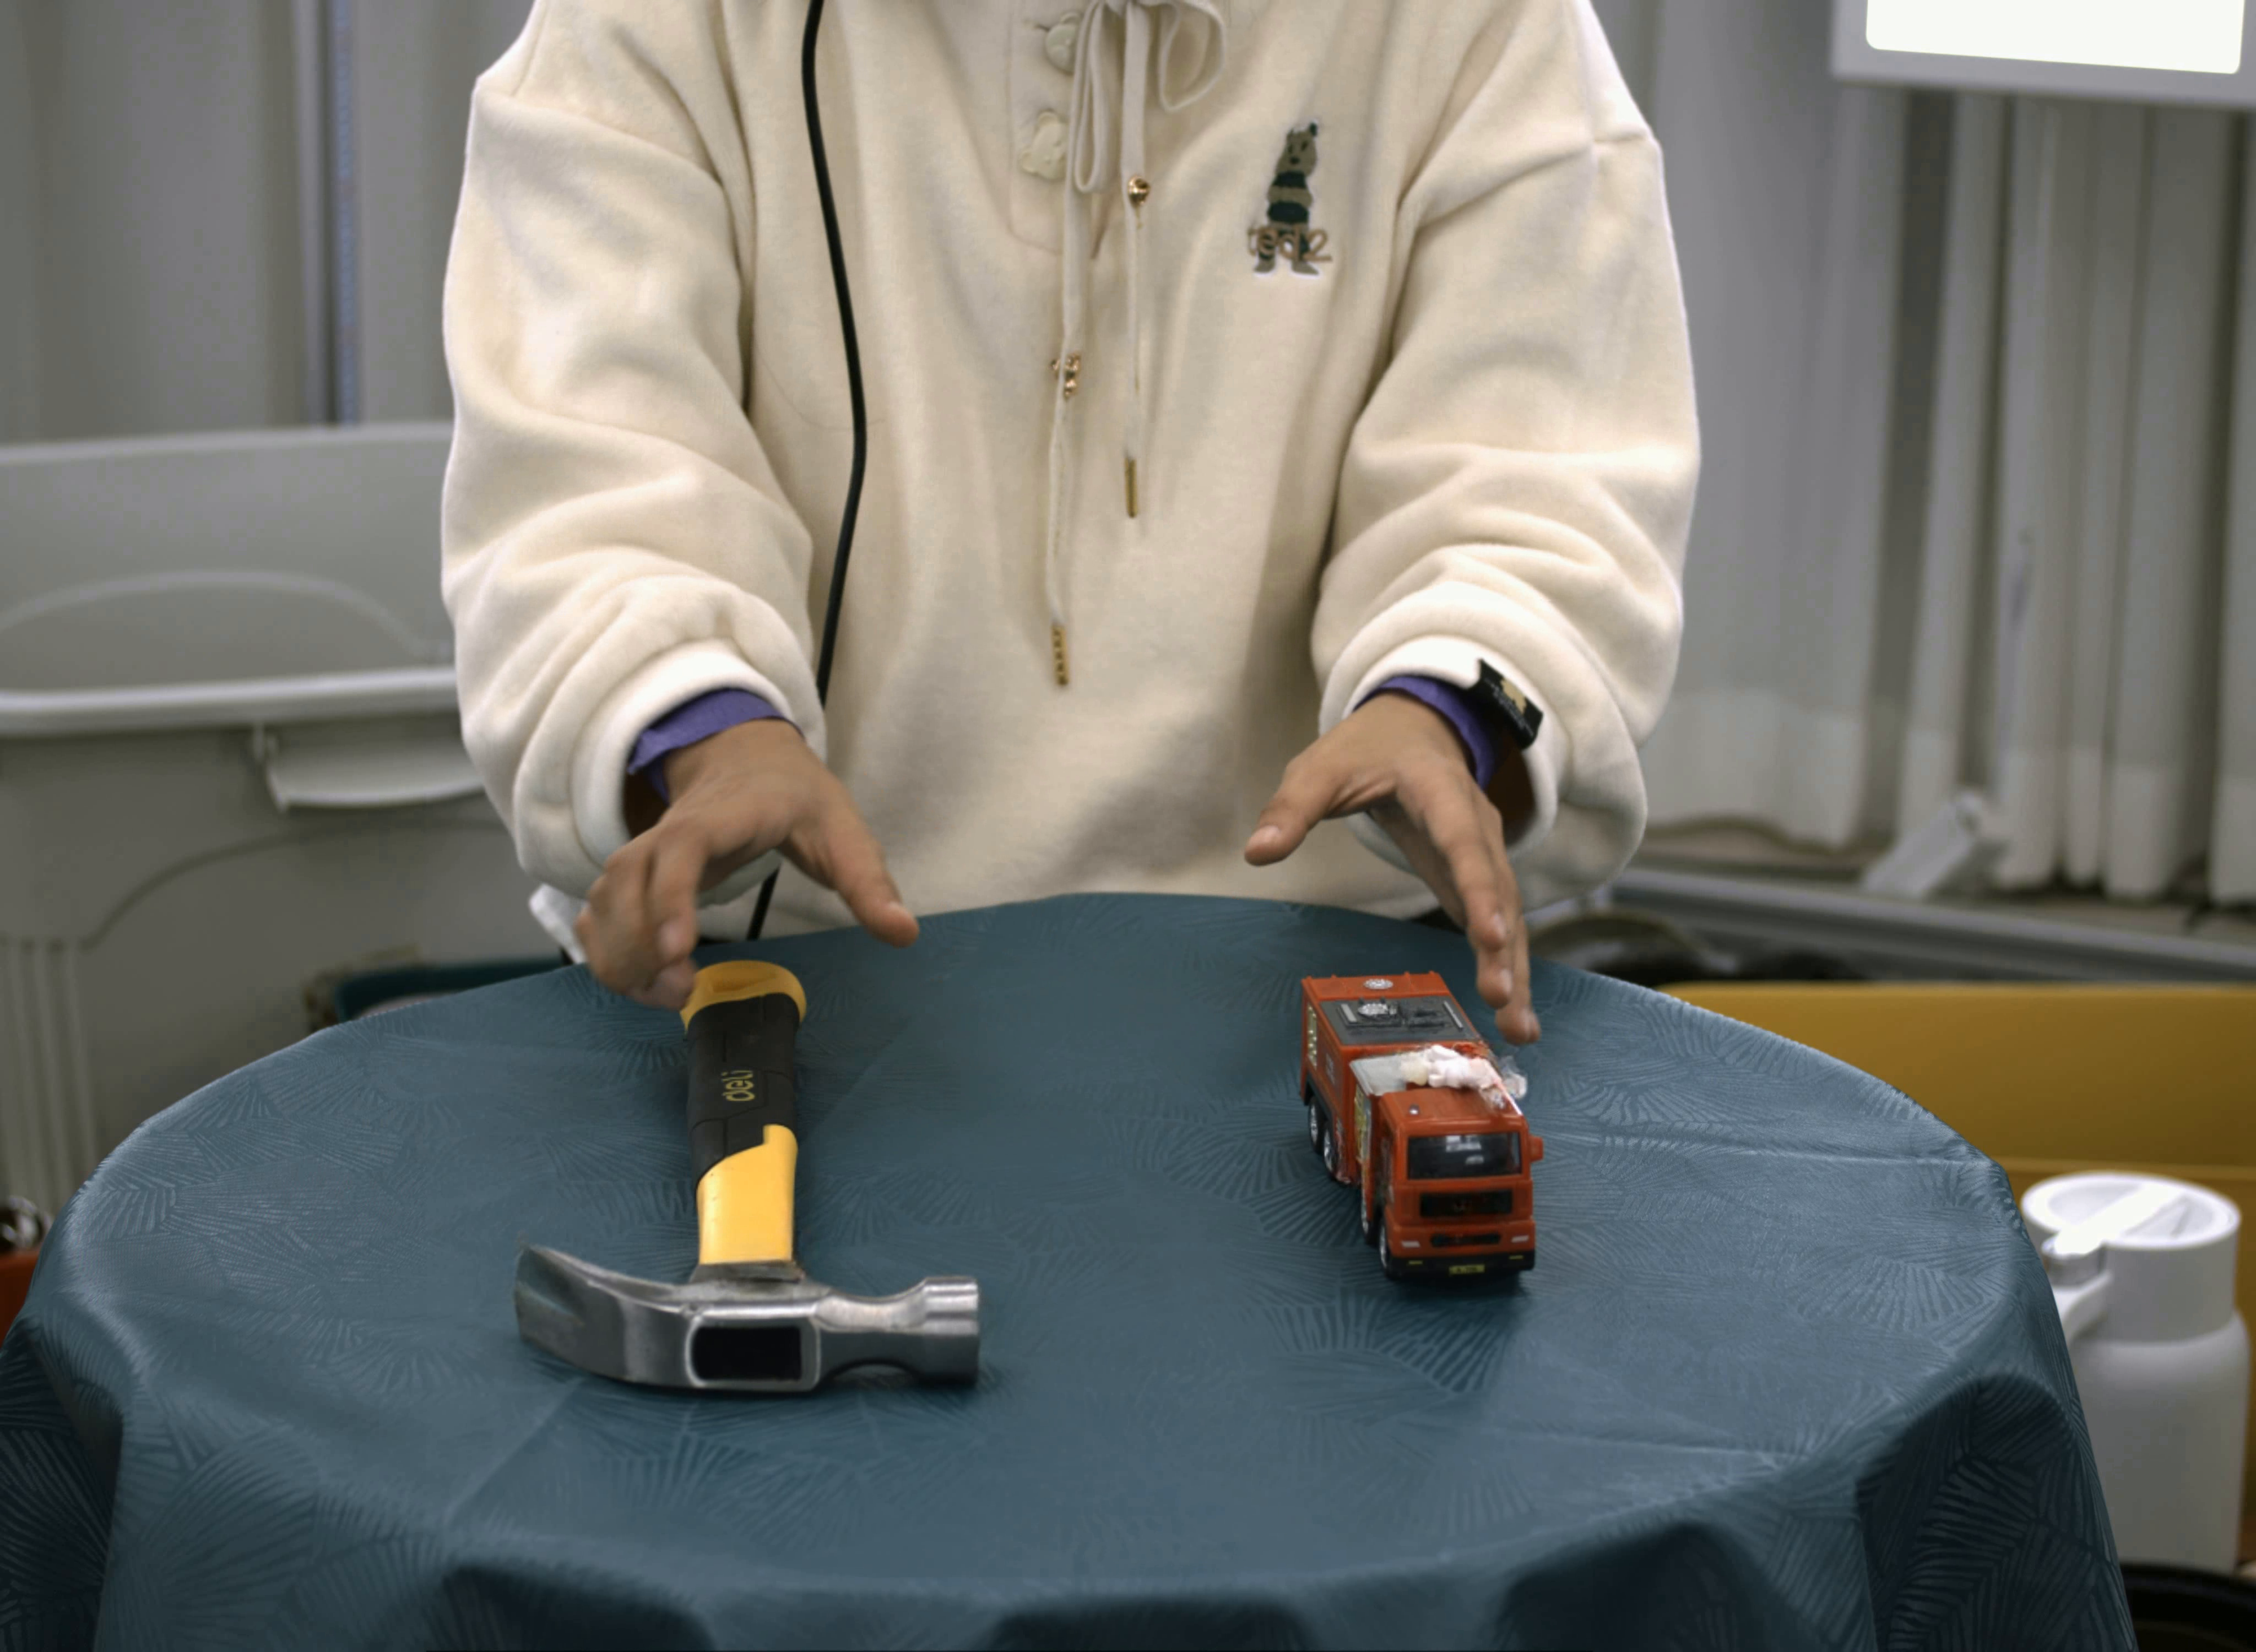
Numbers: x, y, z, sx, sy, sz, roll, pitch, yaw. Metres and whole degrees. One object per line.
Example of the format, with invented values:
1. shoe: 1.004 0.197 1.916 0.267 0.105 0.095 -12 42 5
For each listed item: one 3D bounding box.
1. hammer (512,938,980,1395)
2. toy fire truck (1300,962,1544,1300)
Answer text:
1. hammer: -0.116 0.096 1.603 0.131 0.032 0.336 -2 17 -4
2. toy fire truck: 0.088 0.089 1.597 0.054 0.071 0.166 -2 15 -8
